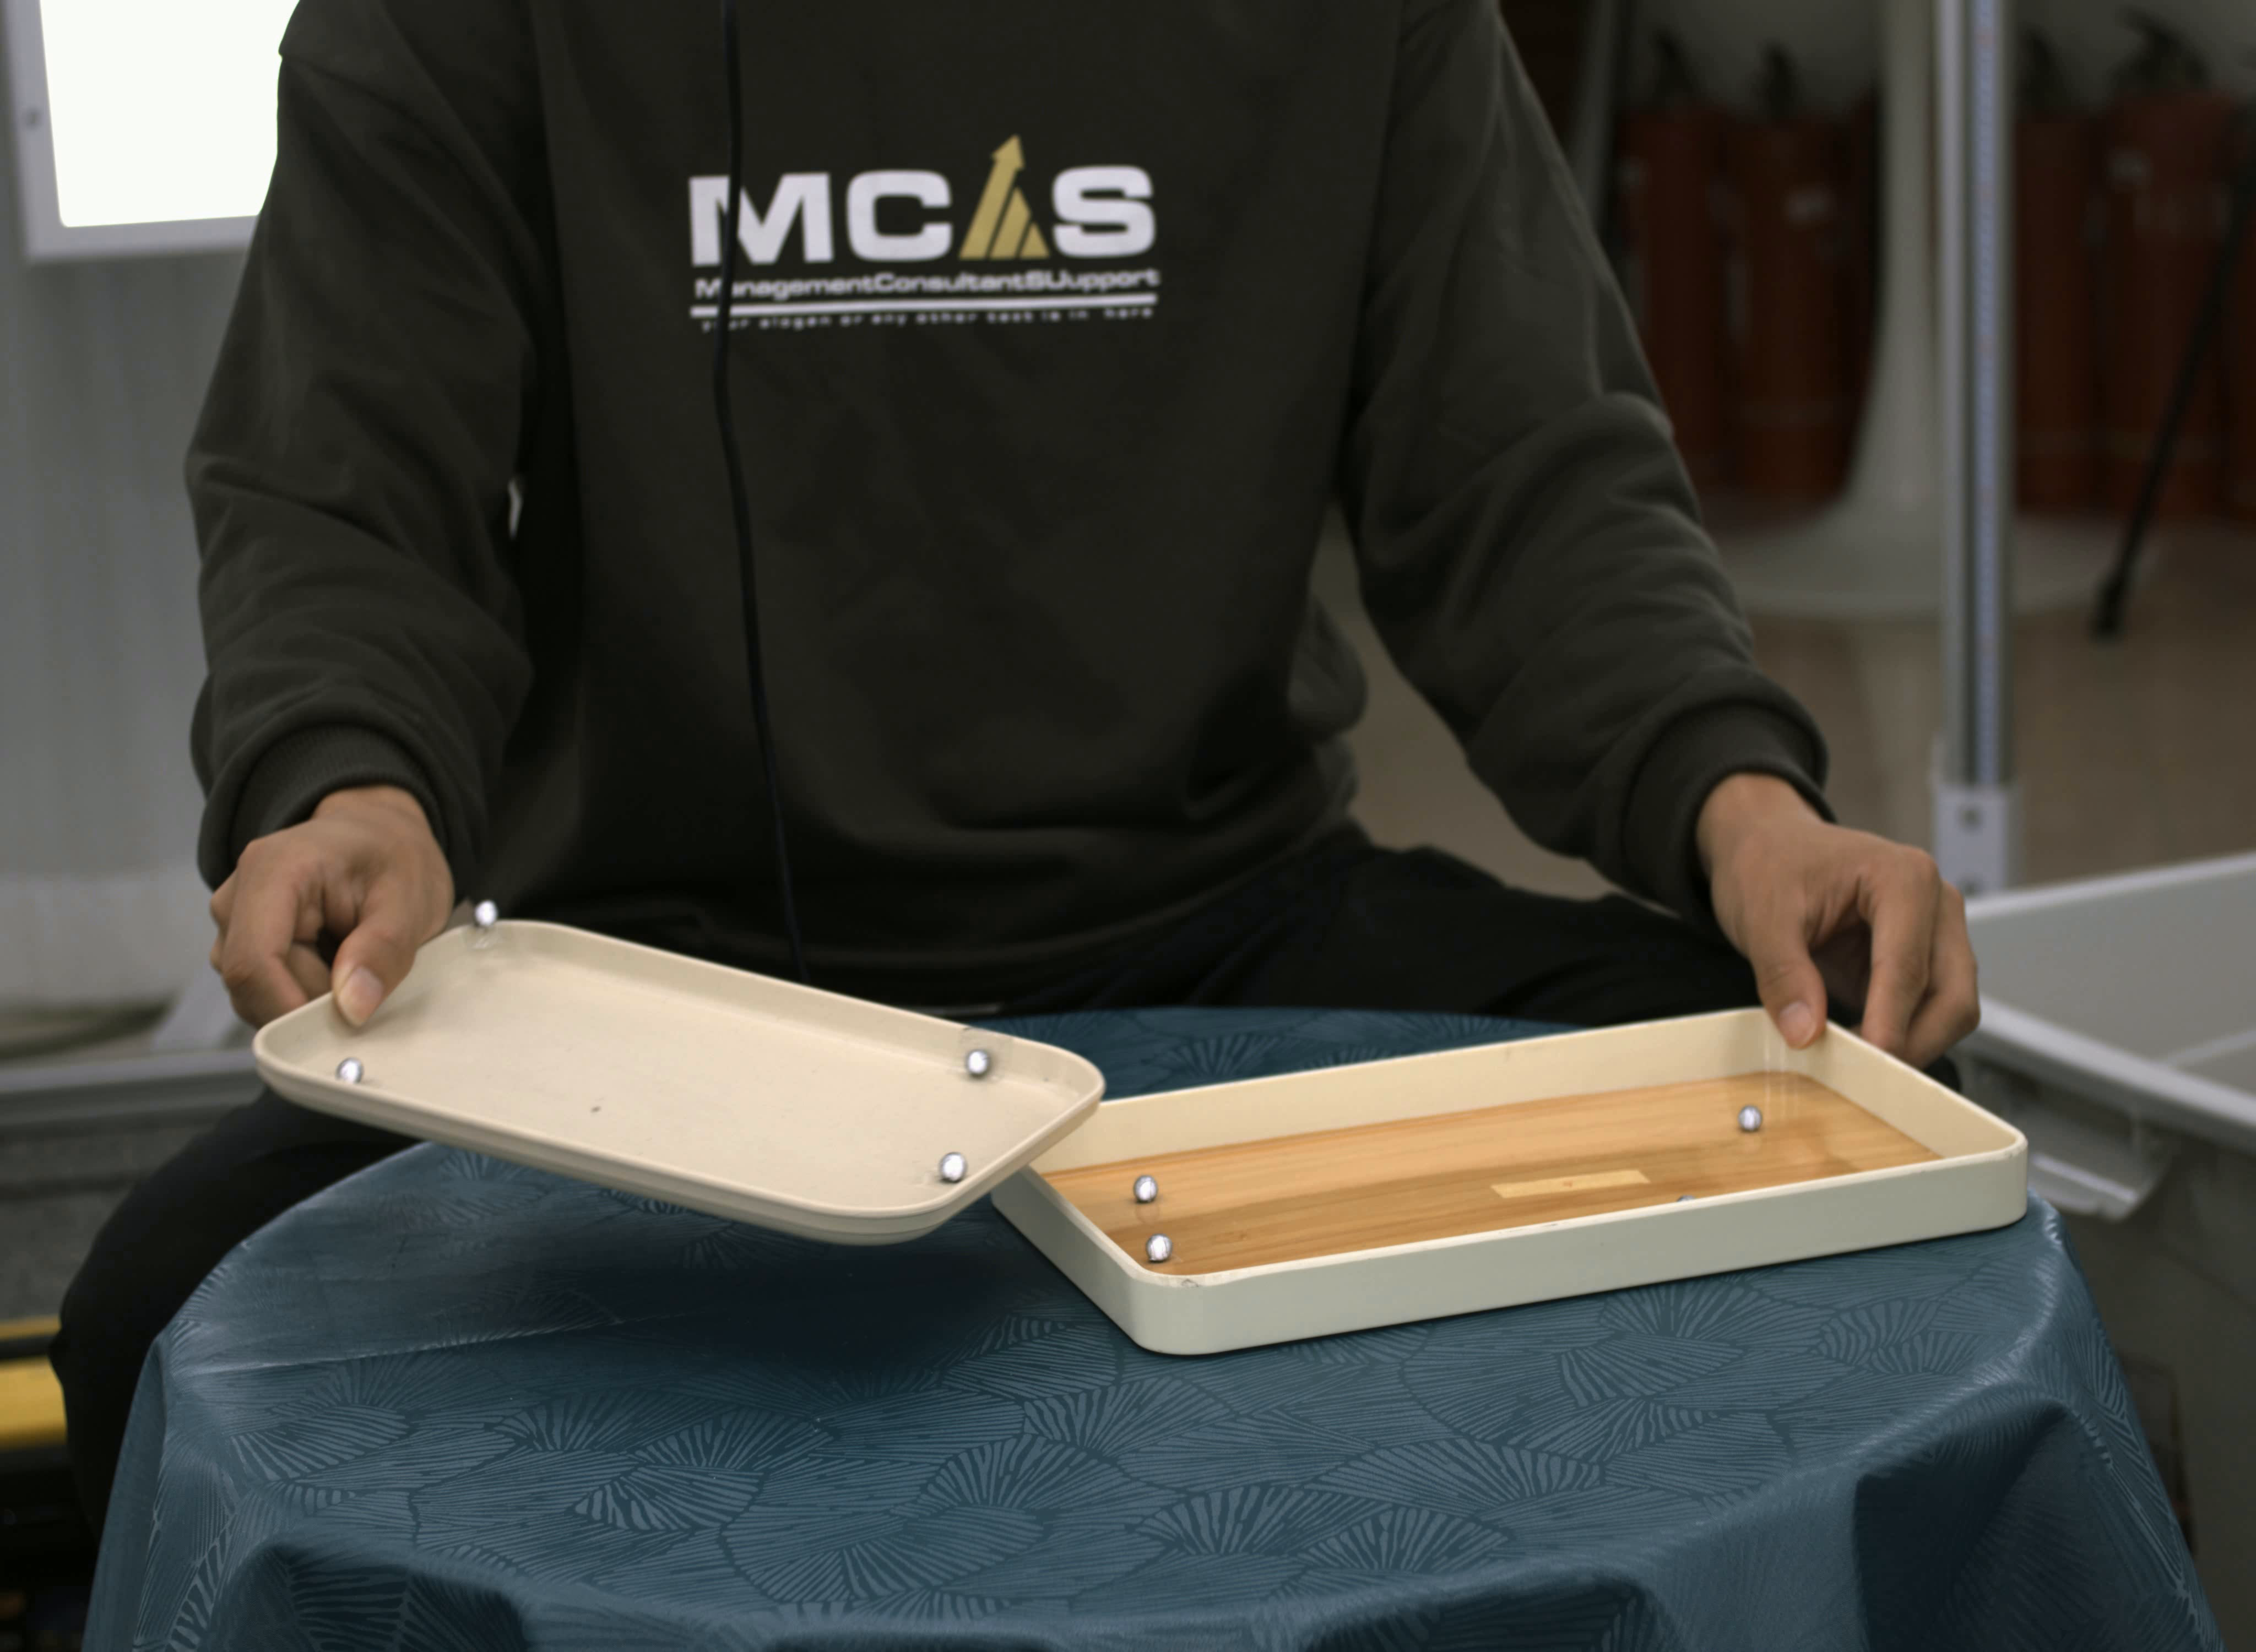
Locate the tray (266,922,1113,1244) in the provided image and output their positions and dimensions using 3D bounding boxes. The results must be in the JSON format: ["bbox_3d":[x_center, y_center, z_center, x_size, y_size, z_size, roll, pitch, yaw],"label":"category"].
[{"bbox_3d":[-0.136,0.079,1.688,0.240,0.018,0.169,13,19,22],"label":"tray"}]

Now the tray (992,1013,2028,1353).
[{"bbox_3d":[0.119,0.112,1.729,0.294,0.028,0.193,-7,13,-16],"label":"tray"}]
